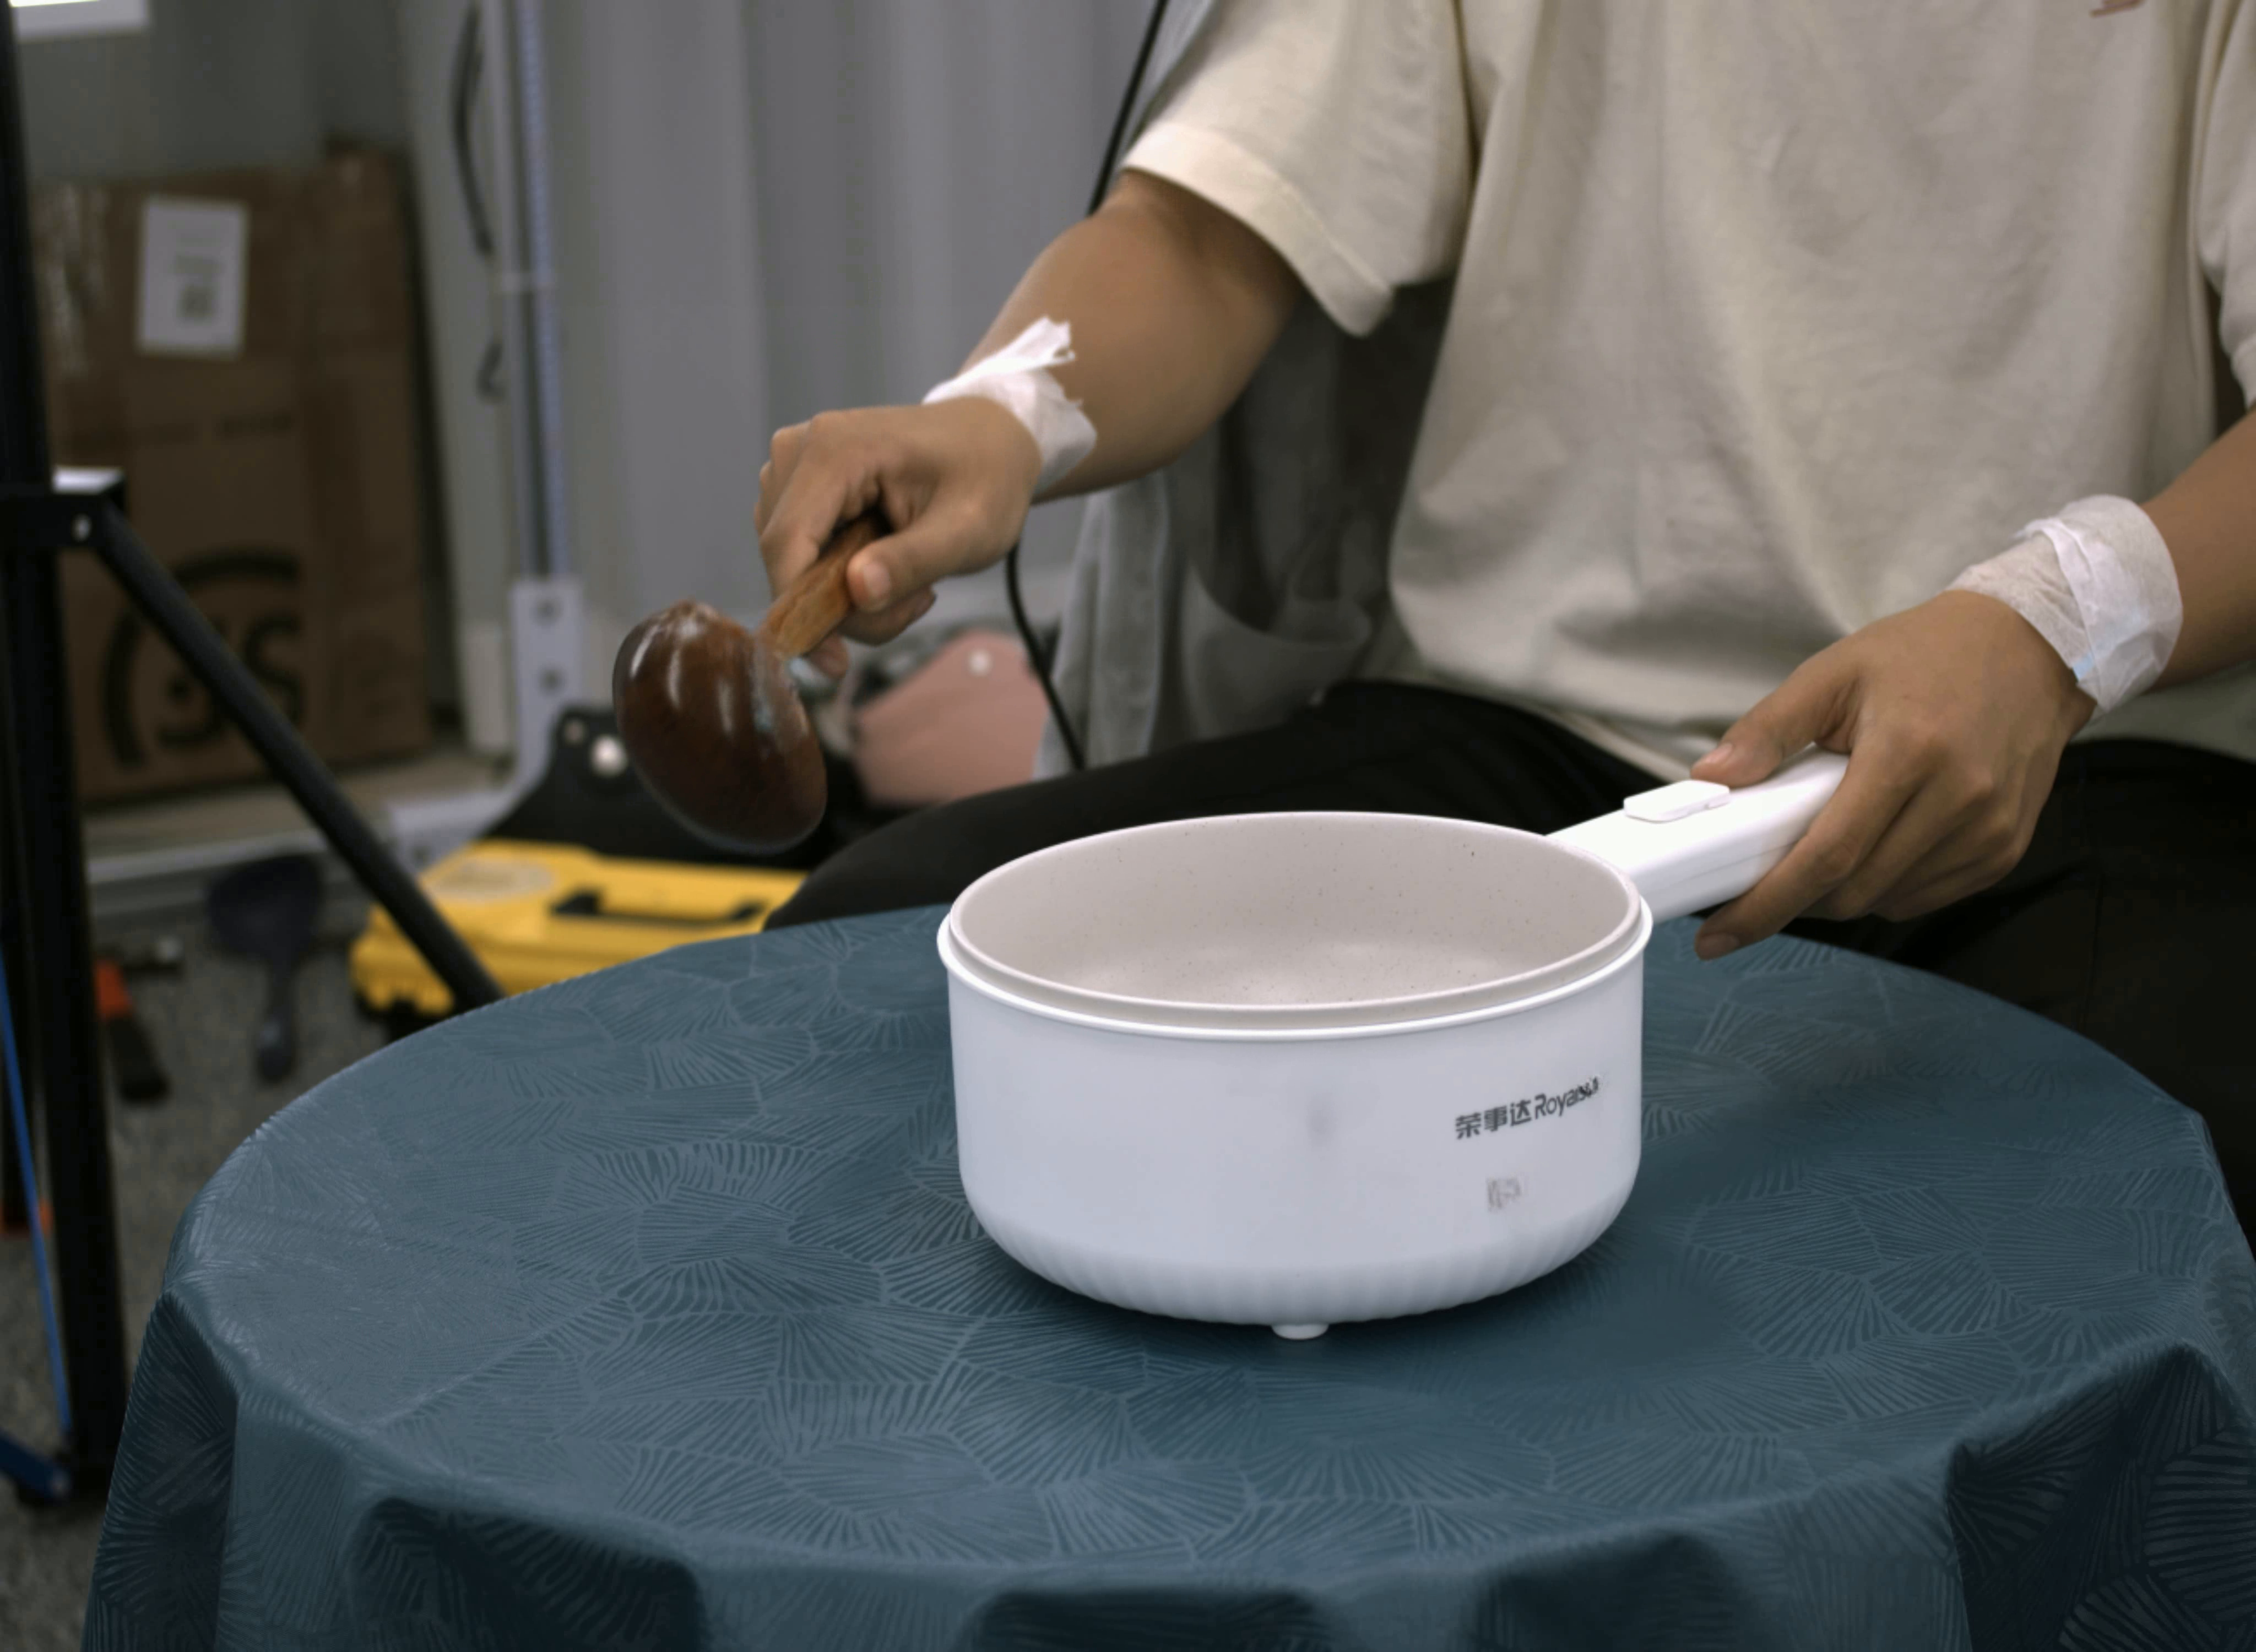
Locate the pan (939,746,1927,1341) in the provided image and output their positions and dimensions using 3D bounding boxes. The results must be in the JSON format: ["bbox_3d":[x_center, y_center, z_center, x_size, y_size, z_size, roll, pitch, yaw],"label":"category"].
[{"bbox_3d":[0.104,0.057,1.545,0.346,0.102,0.206,-14,18,-40],"label":"pan"}]

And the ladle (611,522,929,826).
[{"bbox_3d":[-0.088,-0.067,1.637,0.077,0.082,0.271,-19,9,23],"label":"ladle"}]
